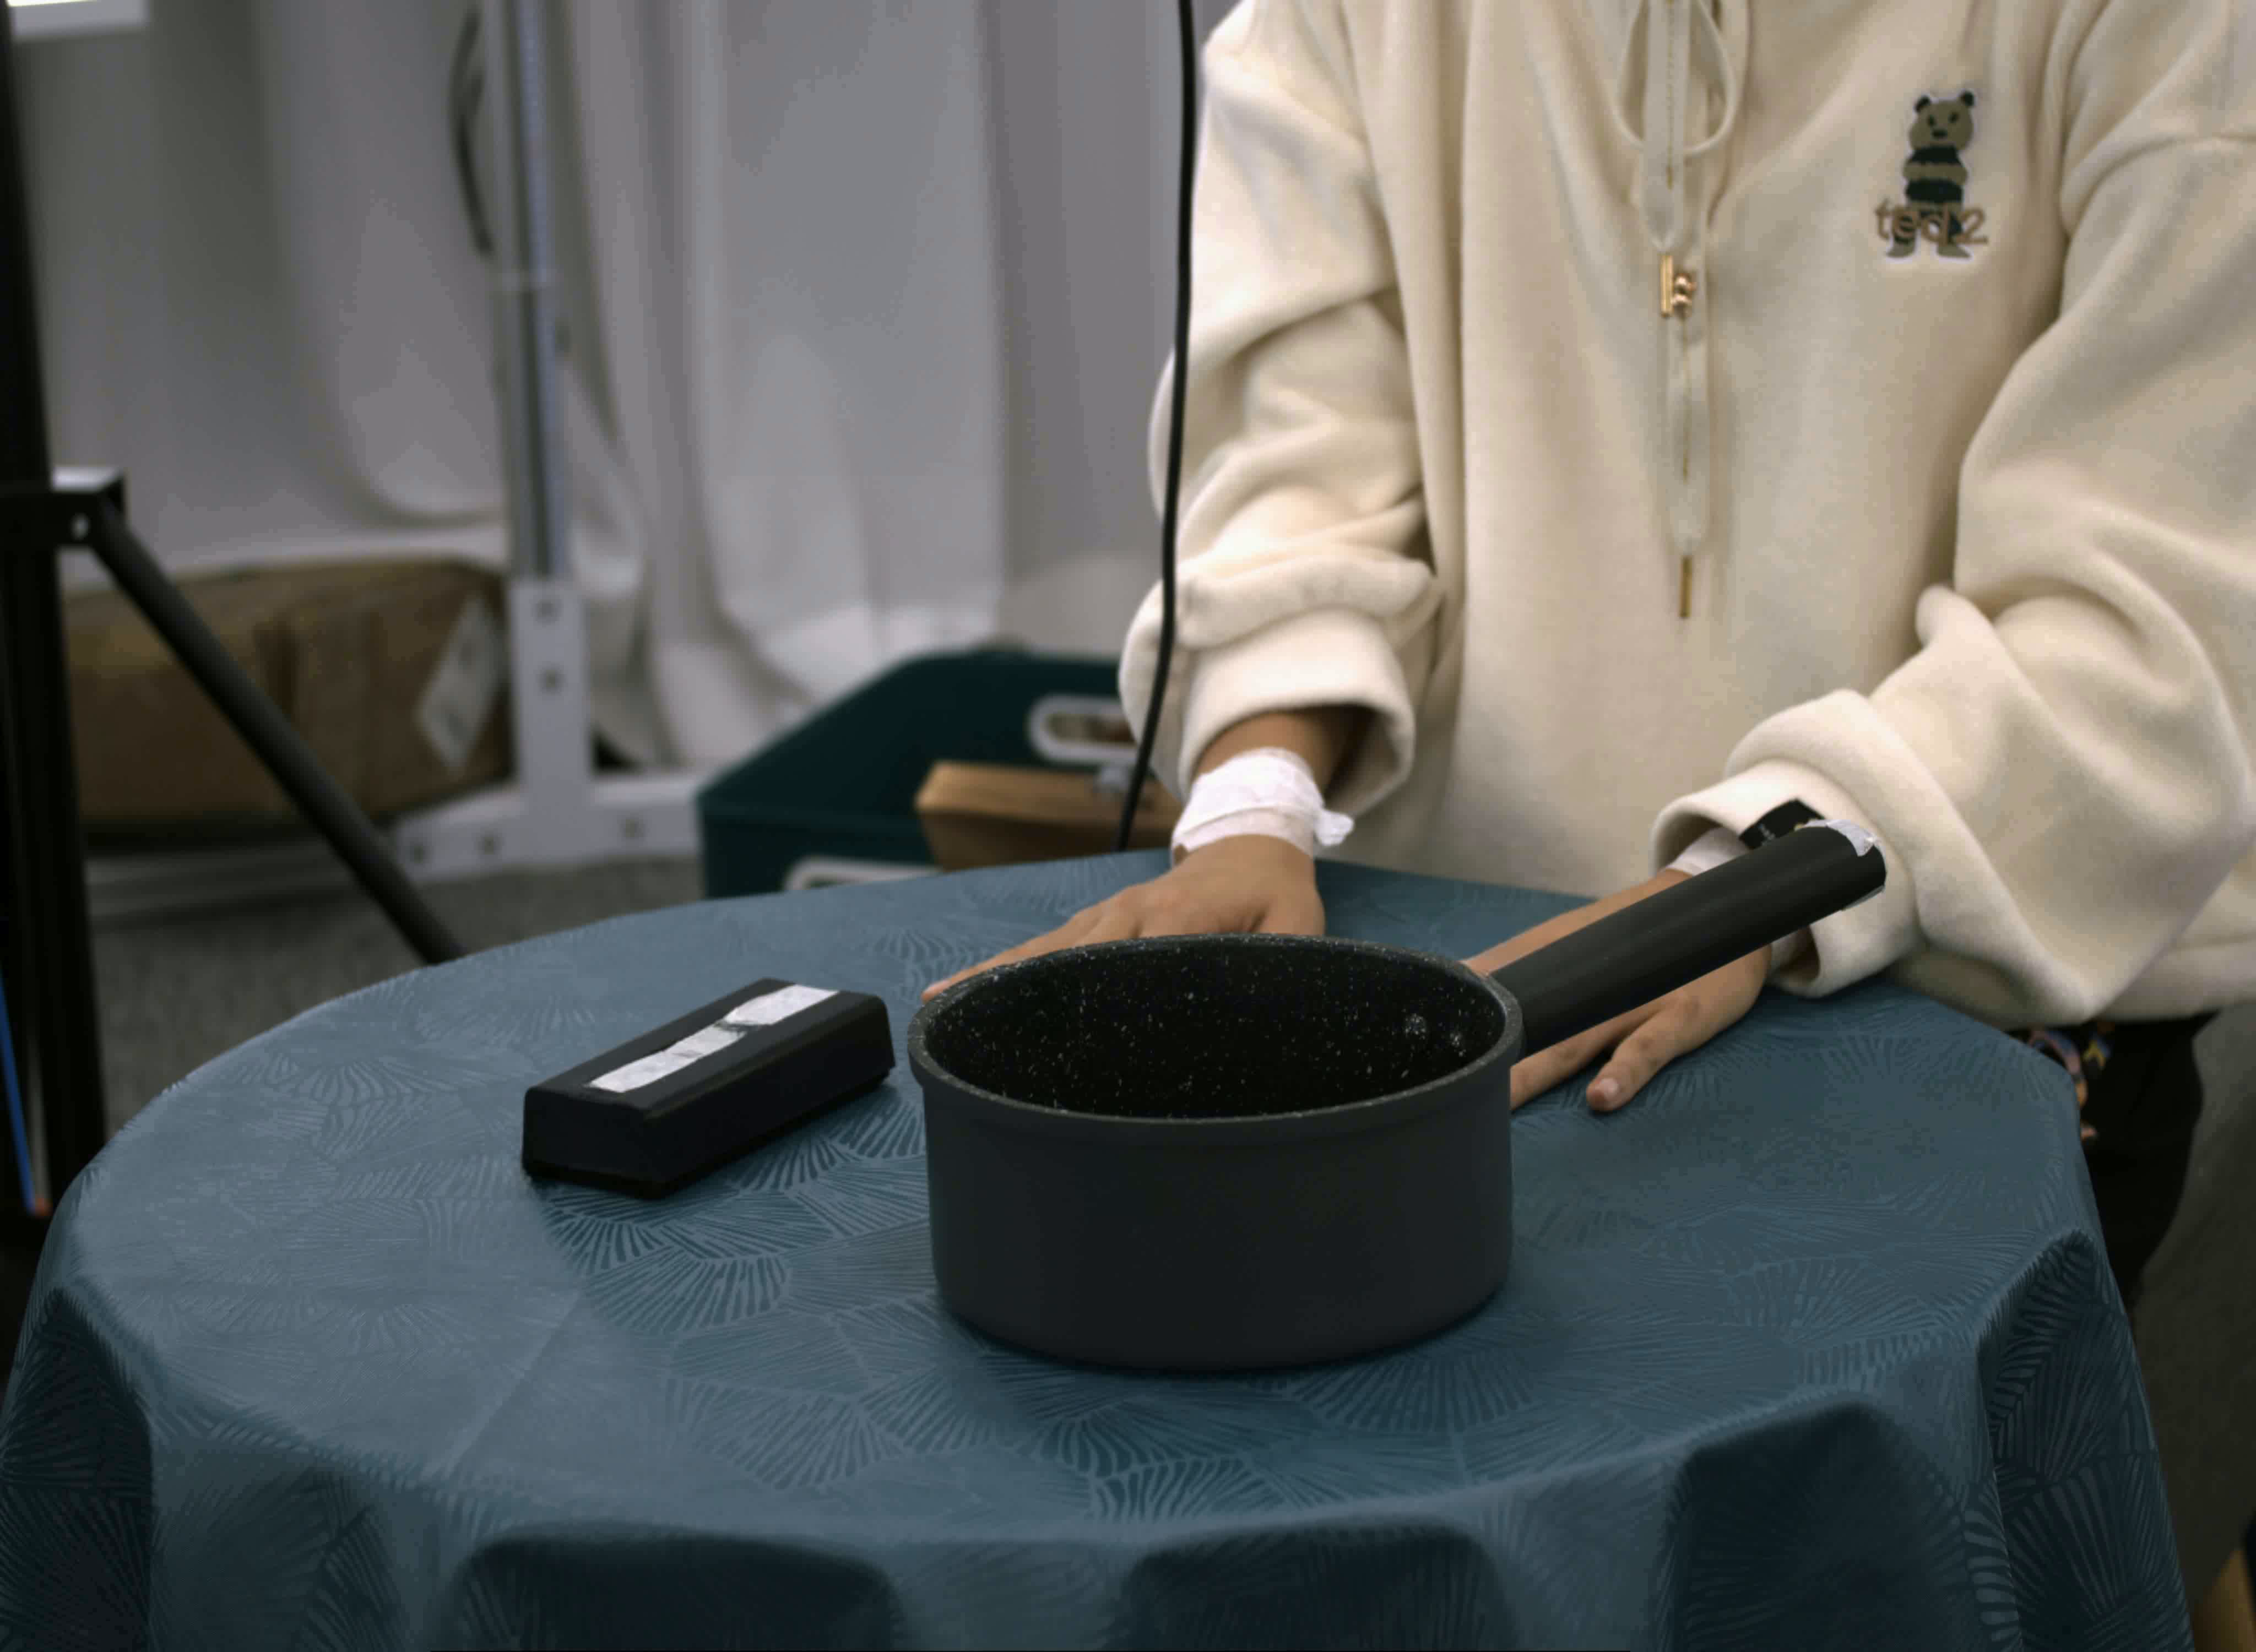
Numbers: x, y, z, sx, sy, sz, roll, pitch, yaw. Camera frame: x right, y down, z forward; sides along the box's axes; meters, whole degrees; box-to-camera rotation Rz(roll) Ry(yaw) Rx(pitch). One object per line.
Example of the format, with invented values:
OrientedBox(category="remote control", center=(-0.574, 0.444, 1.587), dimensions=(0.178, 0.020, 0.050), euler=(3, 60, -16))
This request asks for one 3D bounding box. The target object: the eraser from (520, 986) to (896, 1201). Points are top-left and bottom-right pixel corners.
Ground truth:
OrientedBox(category="eraser", center=(-0.127, 0.081, 1.626), dimensions=(0.054, 0.030, 0.123), euler=(8, 18, 33))

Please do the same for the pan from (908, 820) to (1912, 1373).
OrientedBox(category="pan", center=(0.091, 0.073, 1.514), dimensions=(0.321, 0.086, 0.176), euler=(-13, 19, -30))
